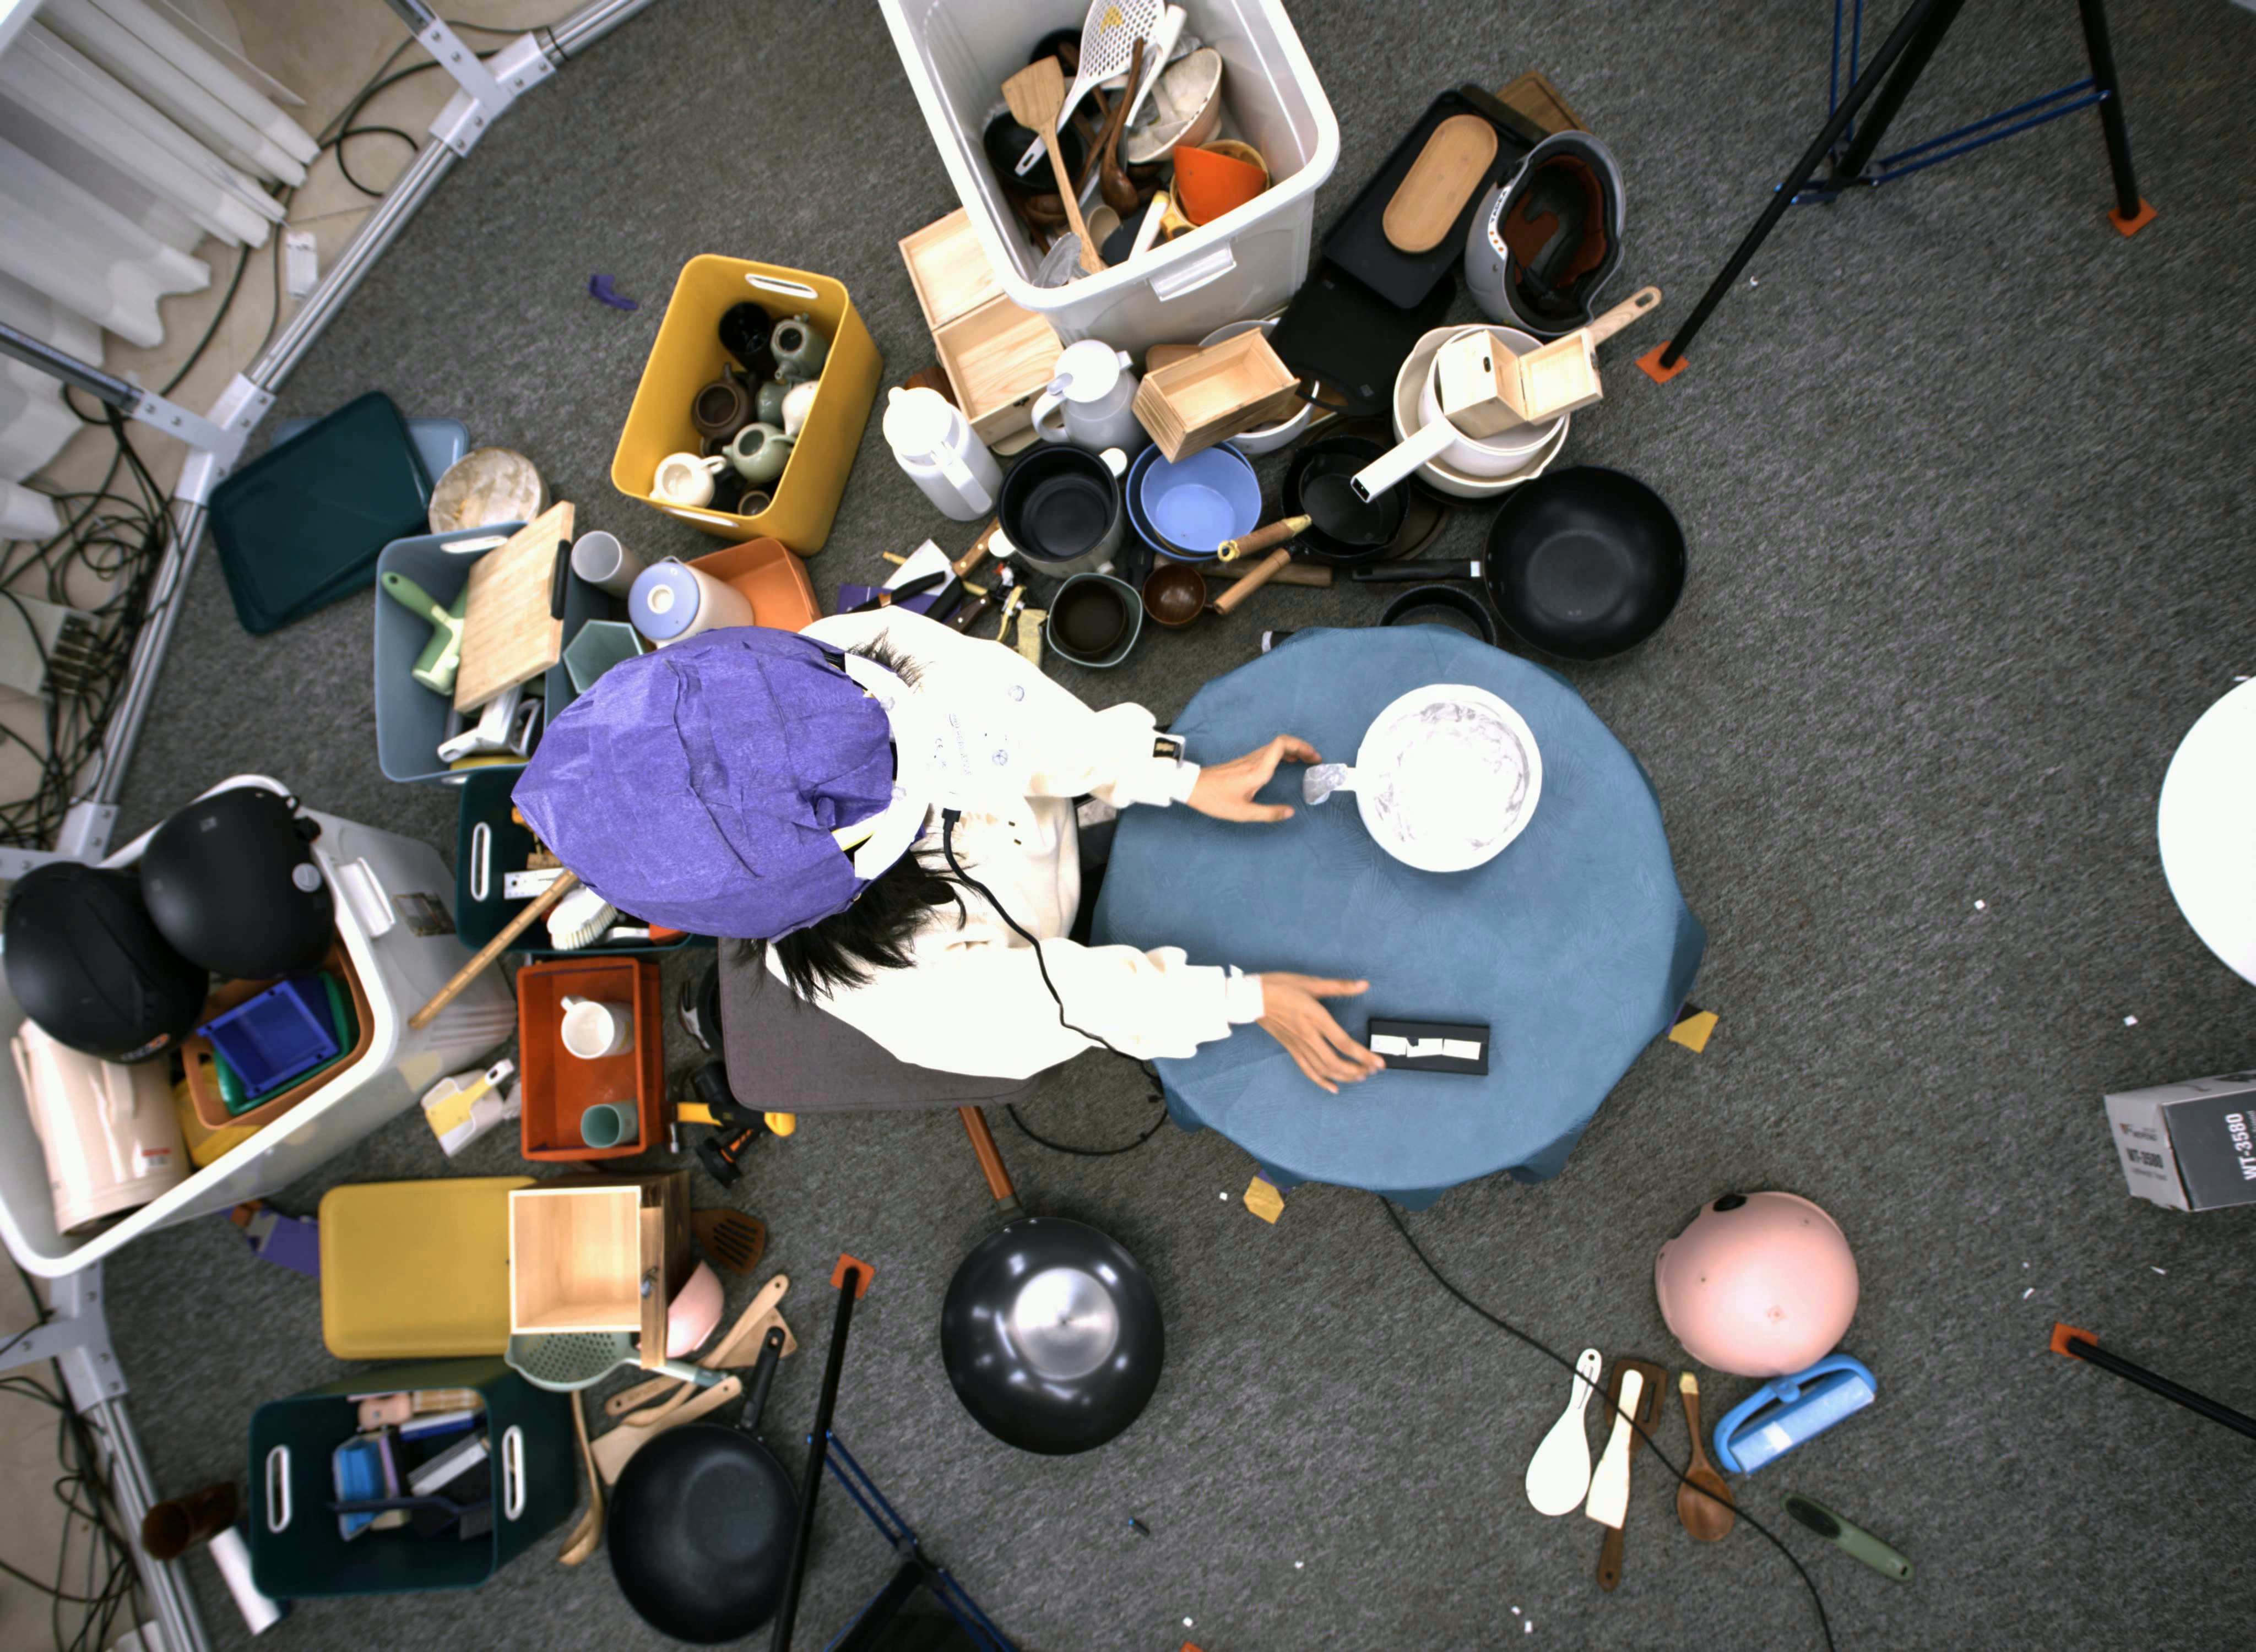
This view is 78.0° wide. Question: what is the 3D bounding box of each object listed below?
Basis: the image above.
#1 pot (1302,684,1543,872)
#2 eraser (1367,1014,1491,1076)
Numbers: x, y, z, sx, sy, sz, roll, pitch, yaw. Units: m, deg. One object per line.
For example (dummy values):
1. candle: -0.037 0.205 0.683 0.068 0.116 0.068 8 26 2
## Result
1. pot: 0.292 -0.045 1.392 0.234 0.137 0.178 -1 85 10
2. eraser: 0.312 0.224 1.430 0.126 0.030 0.053 3 86 12
